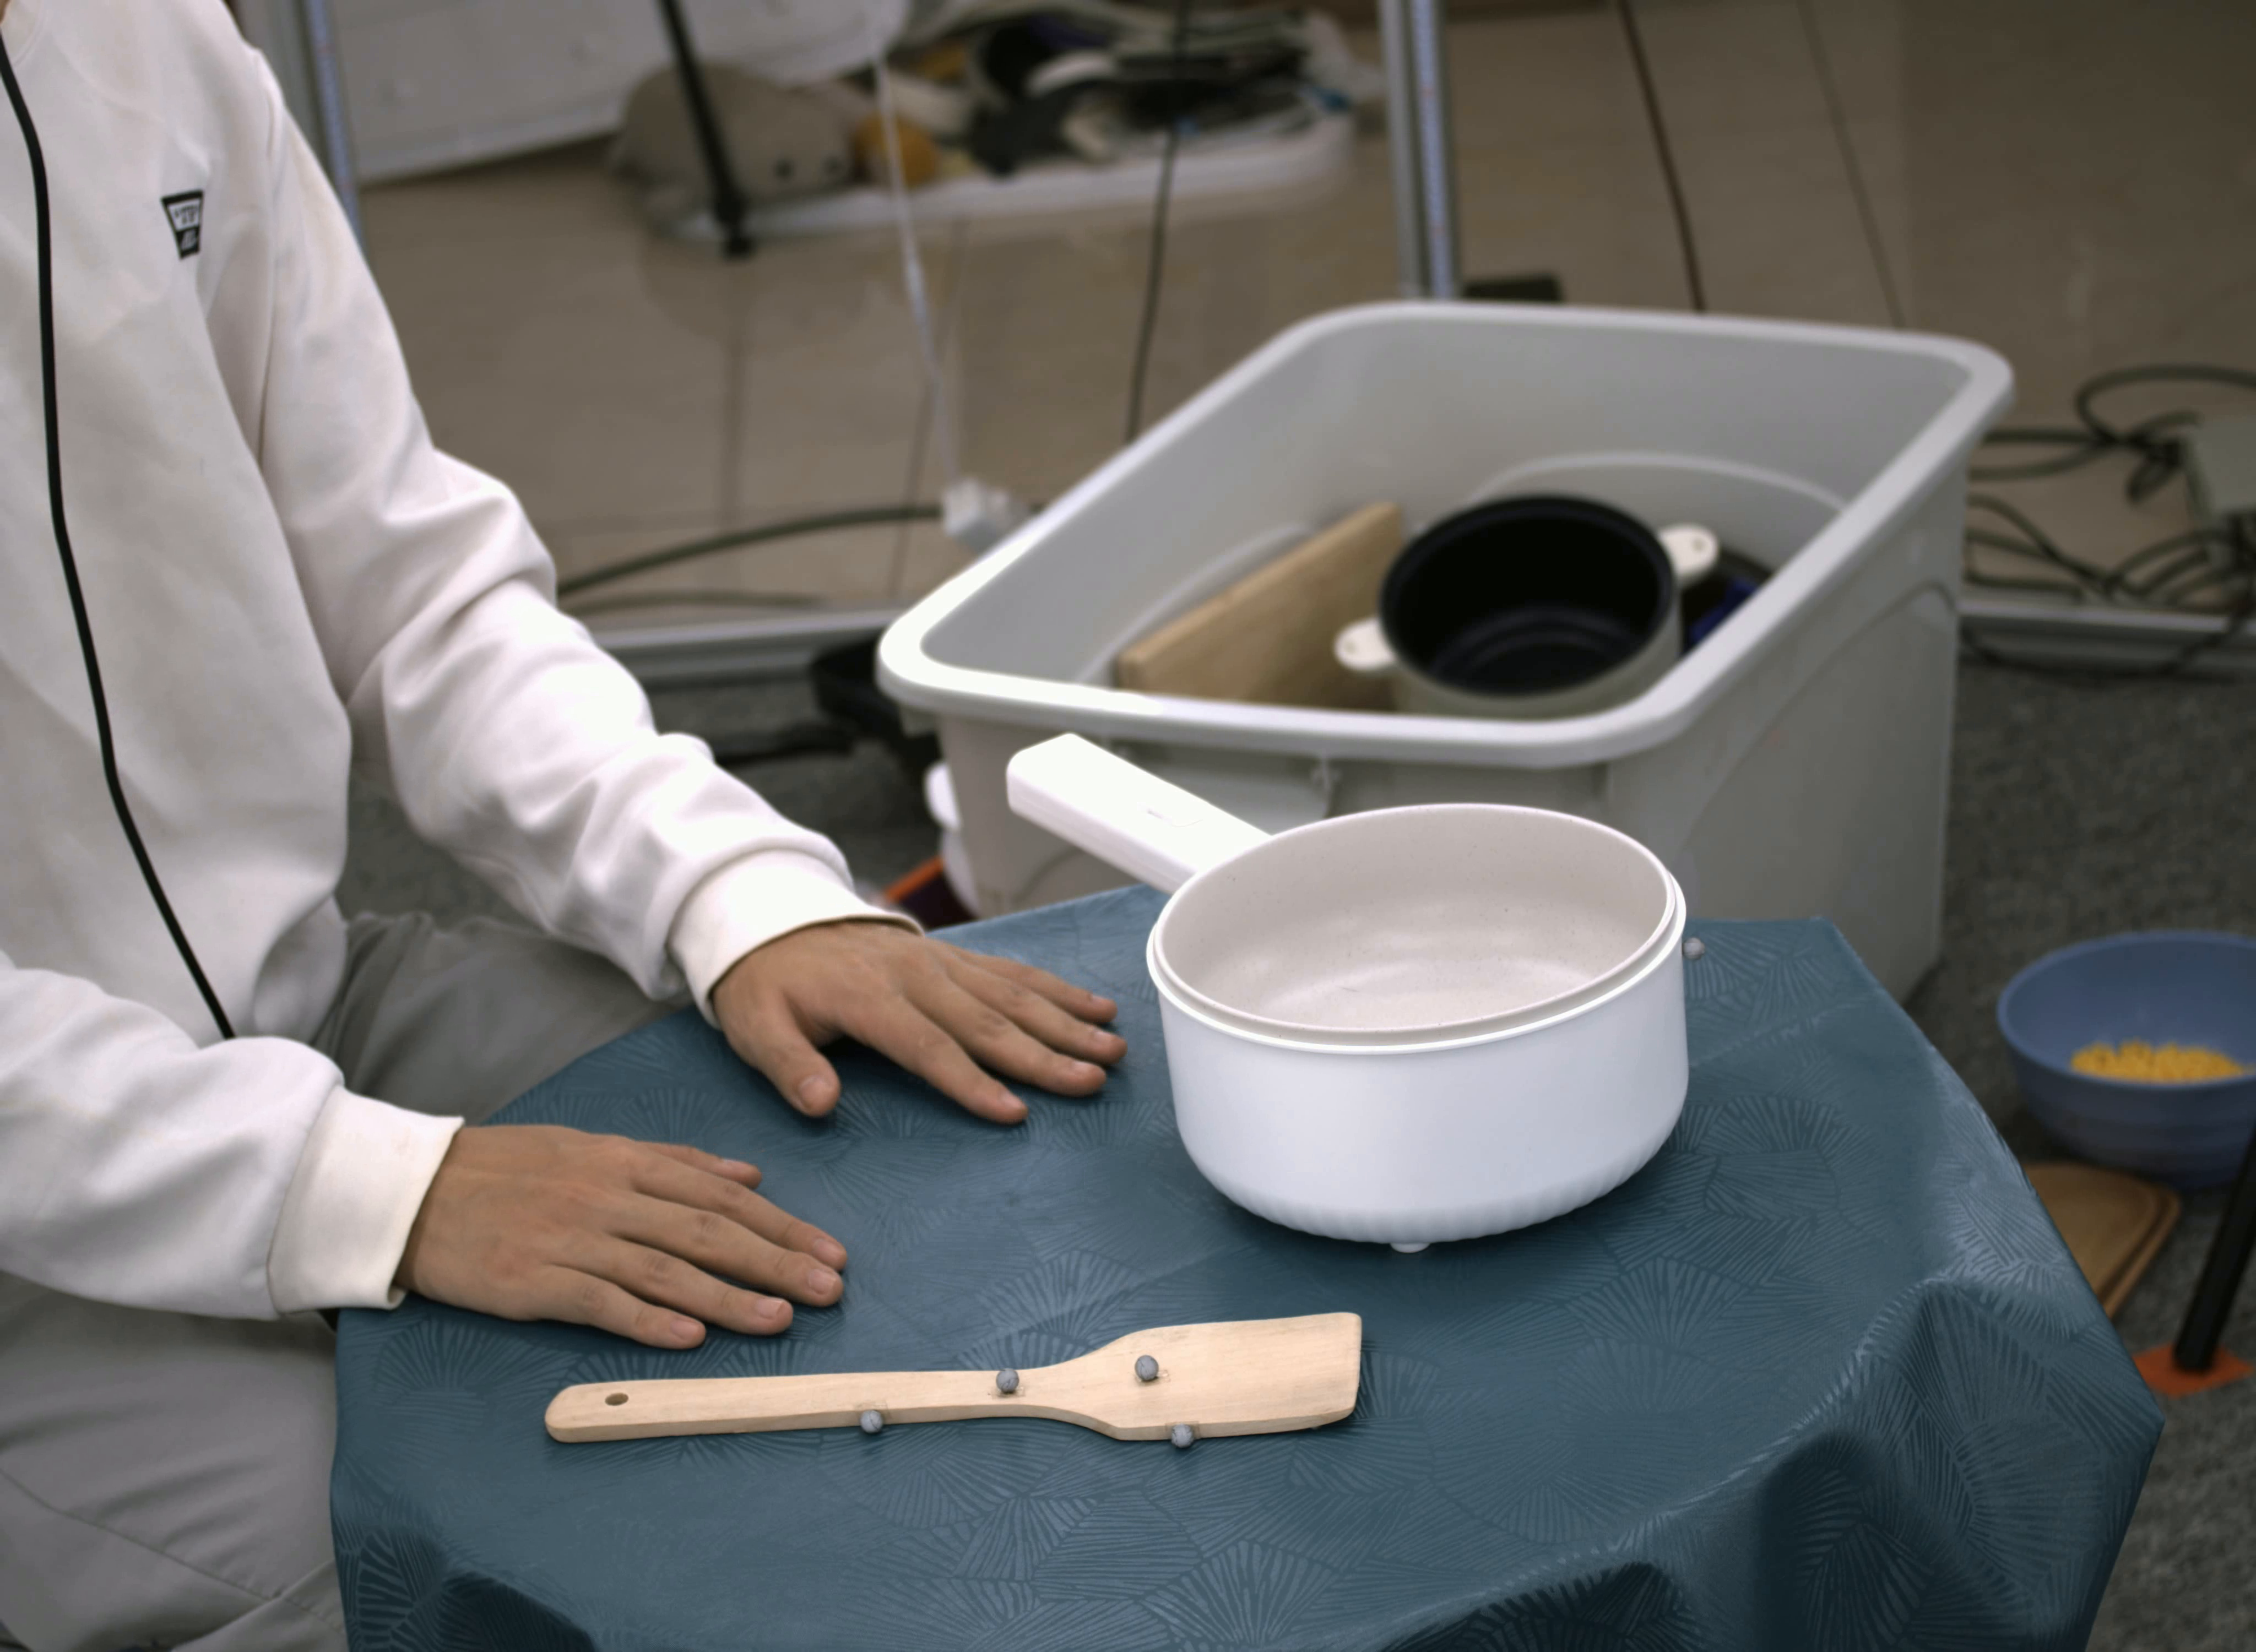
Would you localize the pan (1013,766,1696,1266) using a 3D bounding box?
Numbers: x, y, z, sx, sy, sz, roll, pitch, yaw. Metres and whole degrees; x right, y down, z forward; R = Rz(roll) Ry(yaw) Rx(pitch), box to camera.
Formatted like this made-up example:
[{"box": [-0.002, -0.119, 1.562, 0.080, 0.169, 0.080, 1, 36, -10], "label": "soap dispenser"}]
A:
[{"box": [0.071, 0.065, 2.191, 0.200, 0.103, 0.352, -25, 27, -27], "label": "pan"}]
